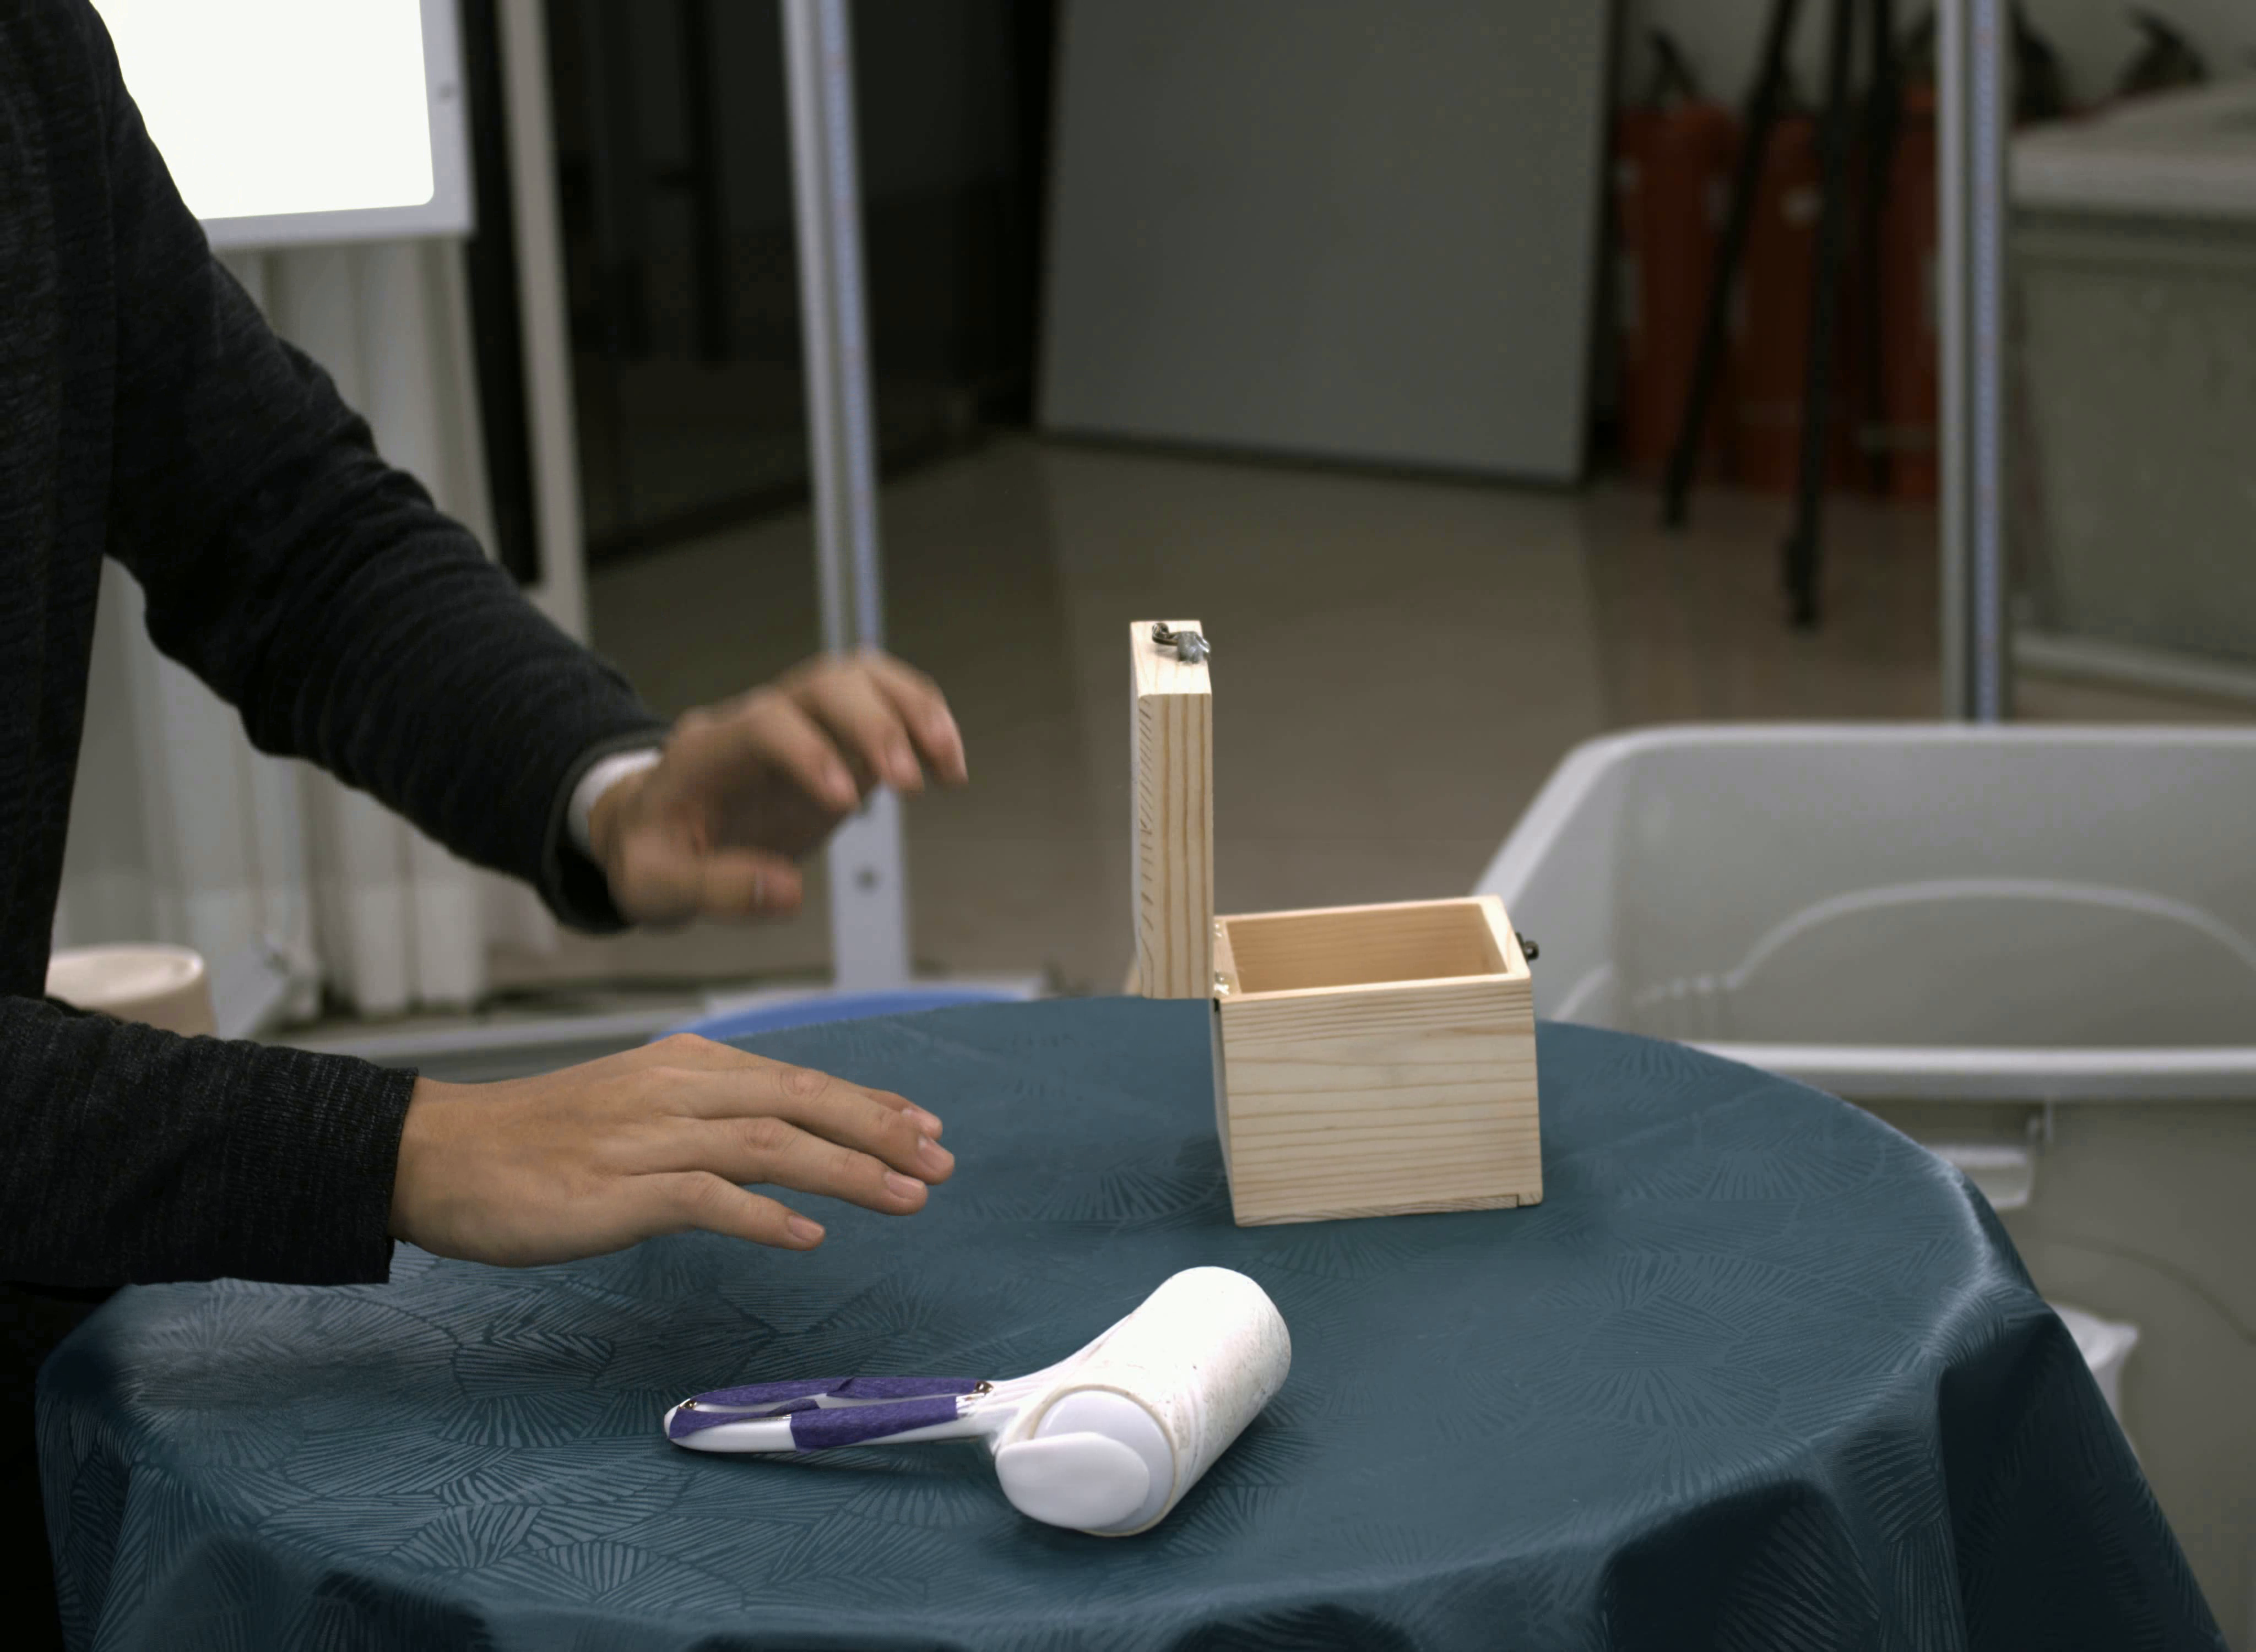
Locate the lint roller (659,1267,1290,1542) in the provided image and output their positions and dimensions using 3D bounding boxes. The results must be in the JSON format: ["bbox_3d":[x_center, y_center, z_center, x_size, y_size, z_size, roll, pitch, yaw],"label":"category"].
[{"bbox_3d":[-0.051,0.158,1.536,0.181,0.051,0.131,4,17,22],"label":"lint roller"}]

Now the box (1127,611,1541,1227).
[{"bbox_3d":[0.067,0.025,1.754,0.132,0.186,0.103,-4,13,0],"label":"box"}]
